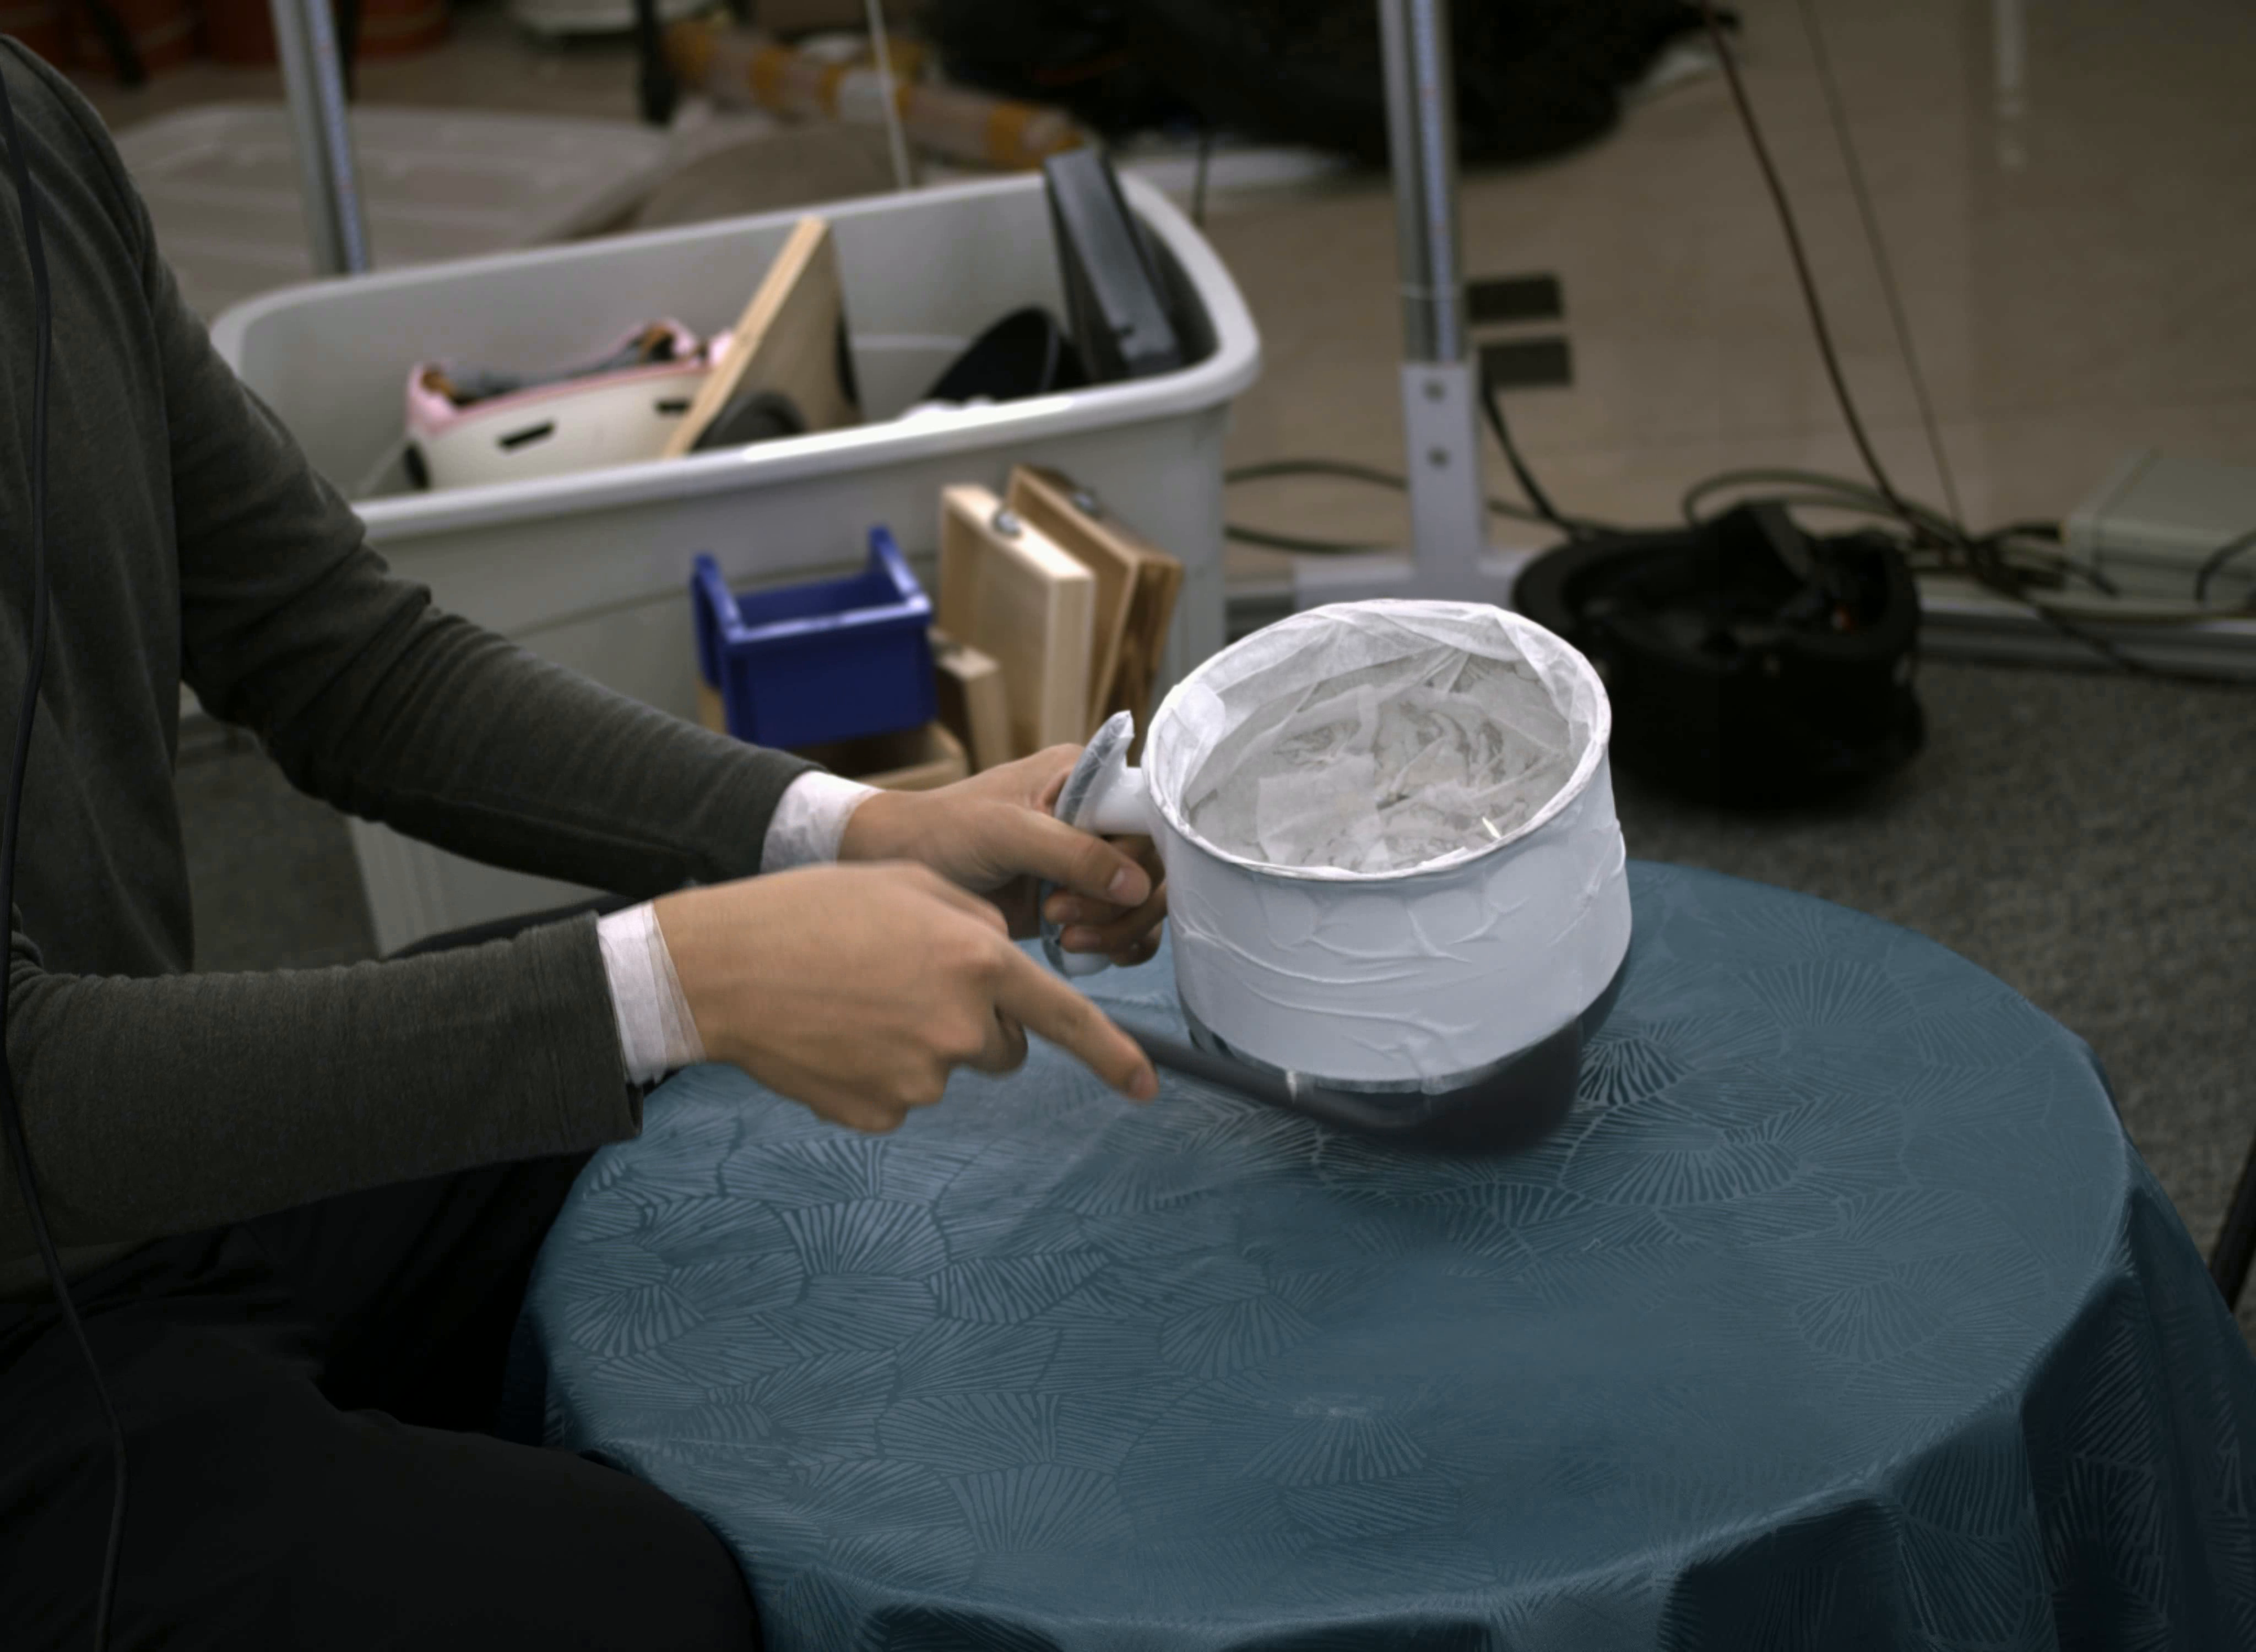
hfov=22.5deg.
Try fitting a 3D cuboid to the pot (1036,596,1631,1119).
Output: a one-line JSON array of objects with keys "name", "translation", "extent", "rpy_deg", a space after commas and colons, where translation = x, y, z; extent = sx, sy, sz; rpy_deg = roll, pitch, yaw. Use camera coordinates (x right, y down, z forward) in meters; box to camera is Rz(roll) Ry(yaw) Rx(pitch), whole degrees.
[{"name": "pot", "translation": [0.074, 0.014, 2.164], "extent": [0.233, 0.139, 0.175], "rpy_deg": [2, 38, 14]}]

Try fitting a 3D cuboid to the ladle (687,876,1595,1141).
[{"name": "ladle", "translation": [0.006, 0.045, 1.938], "extent": [0.313, 0.064, 0.086], "rpy_deg": [17, -9, -1]}]
